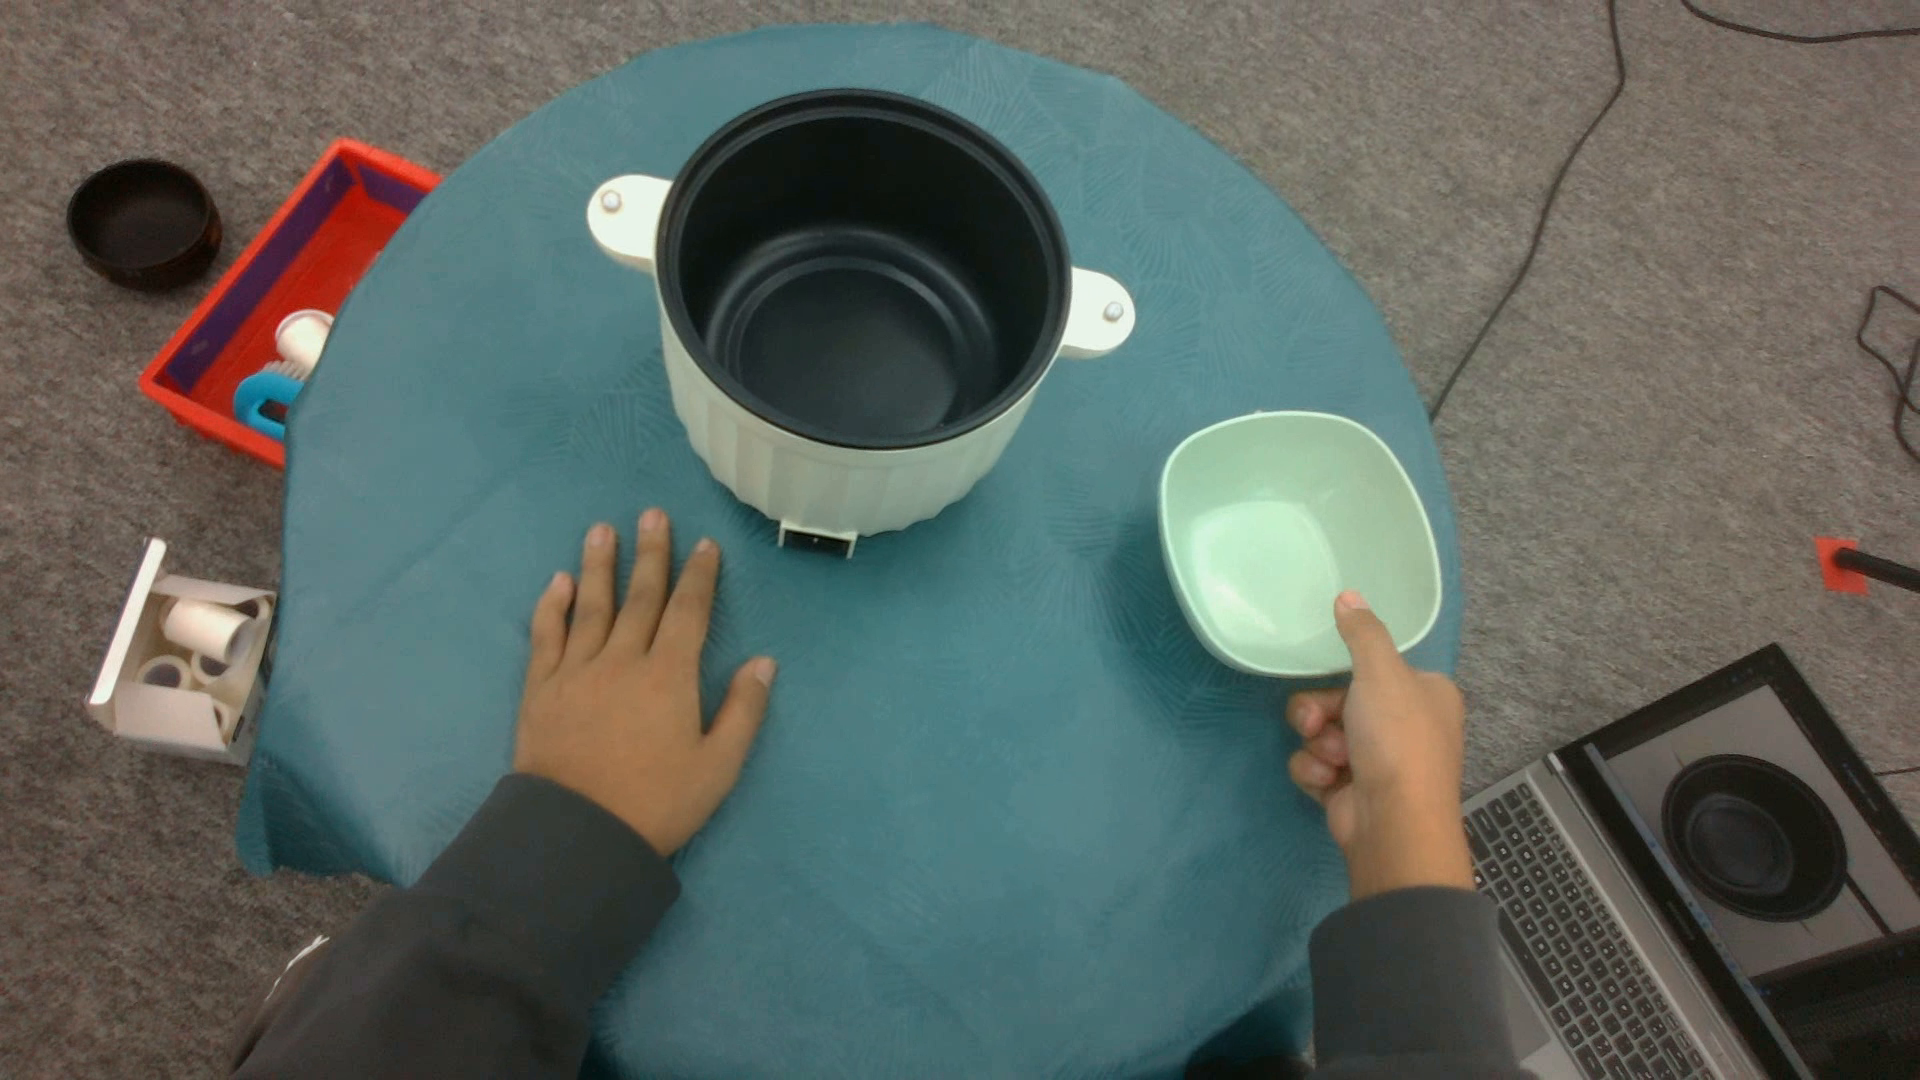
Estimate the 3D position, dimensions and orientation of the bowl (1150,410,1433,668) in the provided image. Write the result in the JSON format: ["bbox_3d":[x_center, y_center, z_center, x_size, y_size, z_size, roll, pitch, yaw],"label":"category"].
[{"bbox_3d":[0.162,0.007,0.712,0.151,0.058,0.152,4,64,-7],"label":"bowl"}]

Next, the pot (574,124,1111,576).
[{"bbox_3d":[-0.060,-0.092,0.674,0.240,0.142,0.191,6,69,-8],"label":"pot"}]
